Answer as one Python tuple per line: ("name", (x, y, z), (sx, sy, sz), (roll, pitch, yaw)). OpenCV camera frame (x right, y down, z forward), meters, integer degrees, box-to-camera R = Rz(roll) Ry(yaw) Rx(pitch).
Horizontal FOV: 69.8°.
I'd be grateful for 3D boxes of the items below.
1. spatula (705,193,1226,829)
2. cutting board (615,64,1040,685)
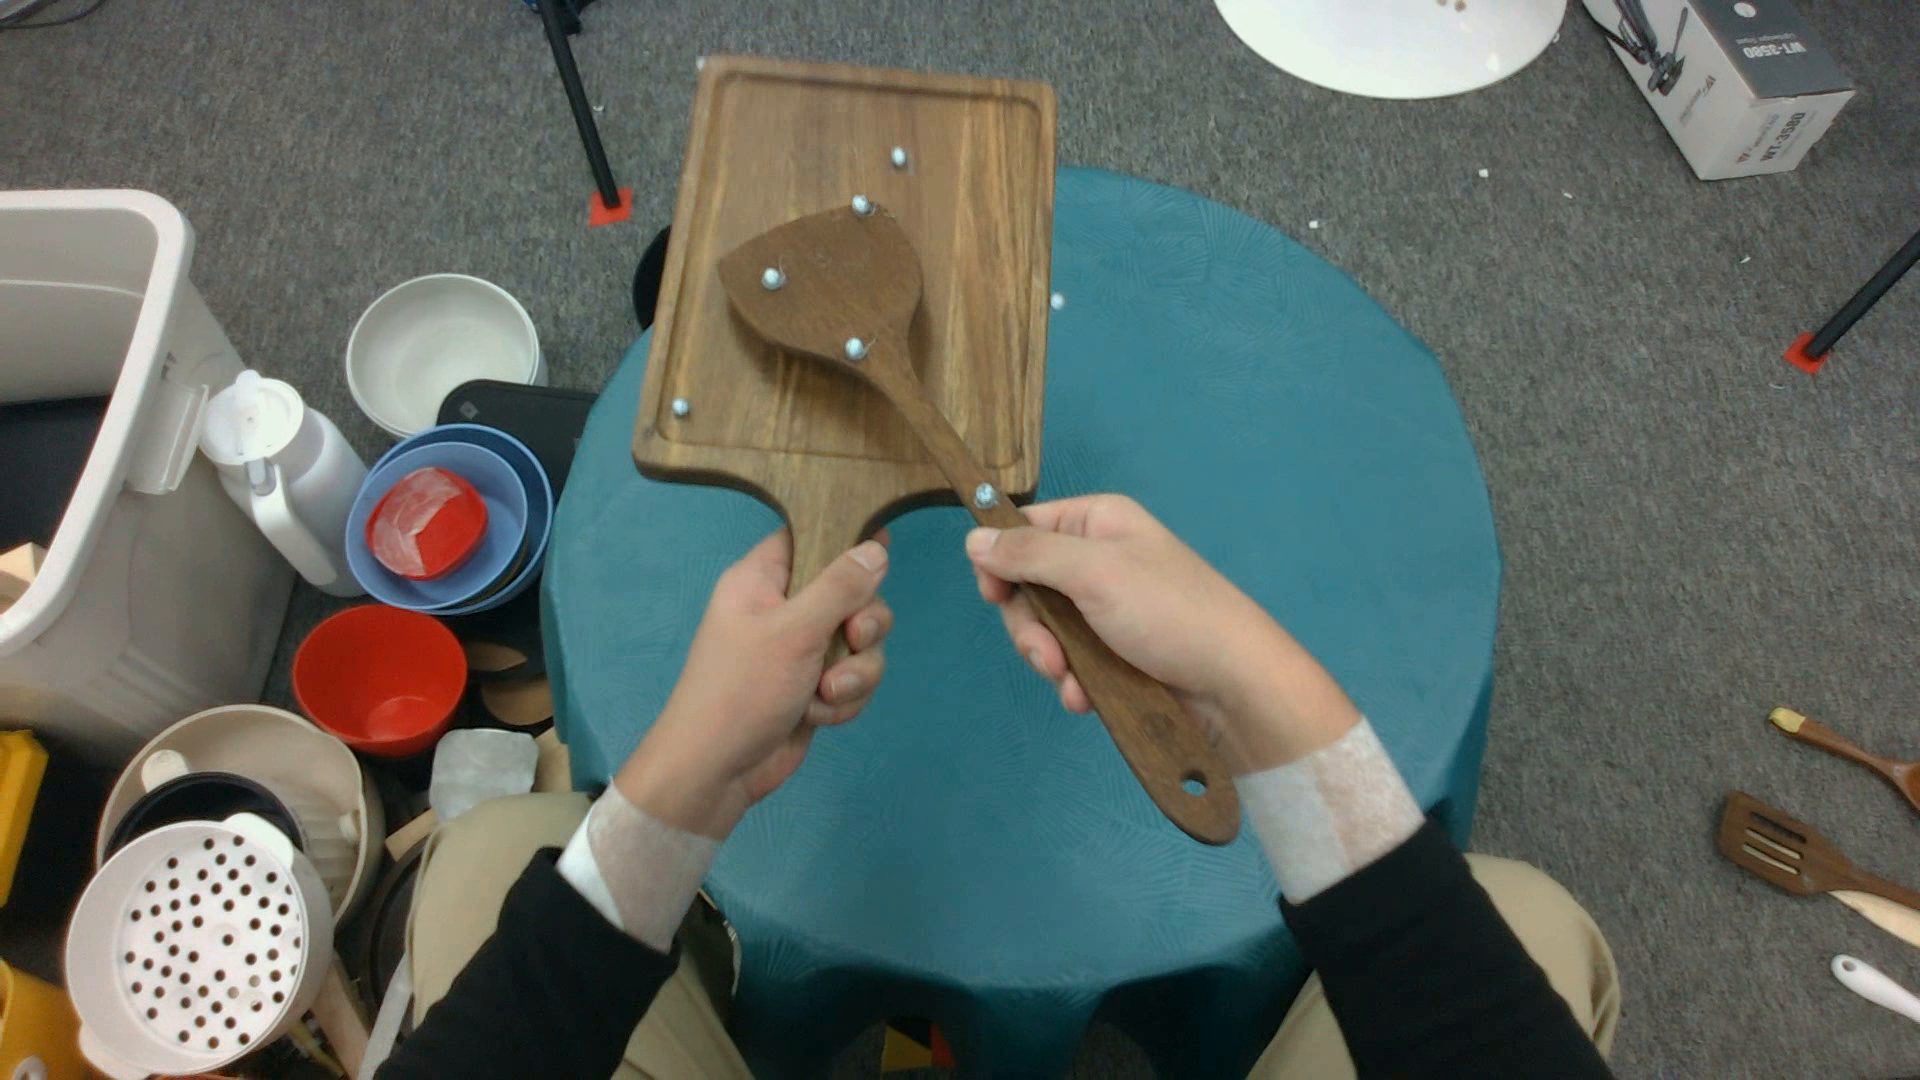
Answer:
("spatula", (-0.002, -0.033, 0.591), (0.096, 0.016, 0.387), (-25, 54, -14))
("cutting board", (-0.063, -0.097, 0.687), (0.201, 0.023, 0.353), (4, 64, -1))
